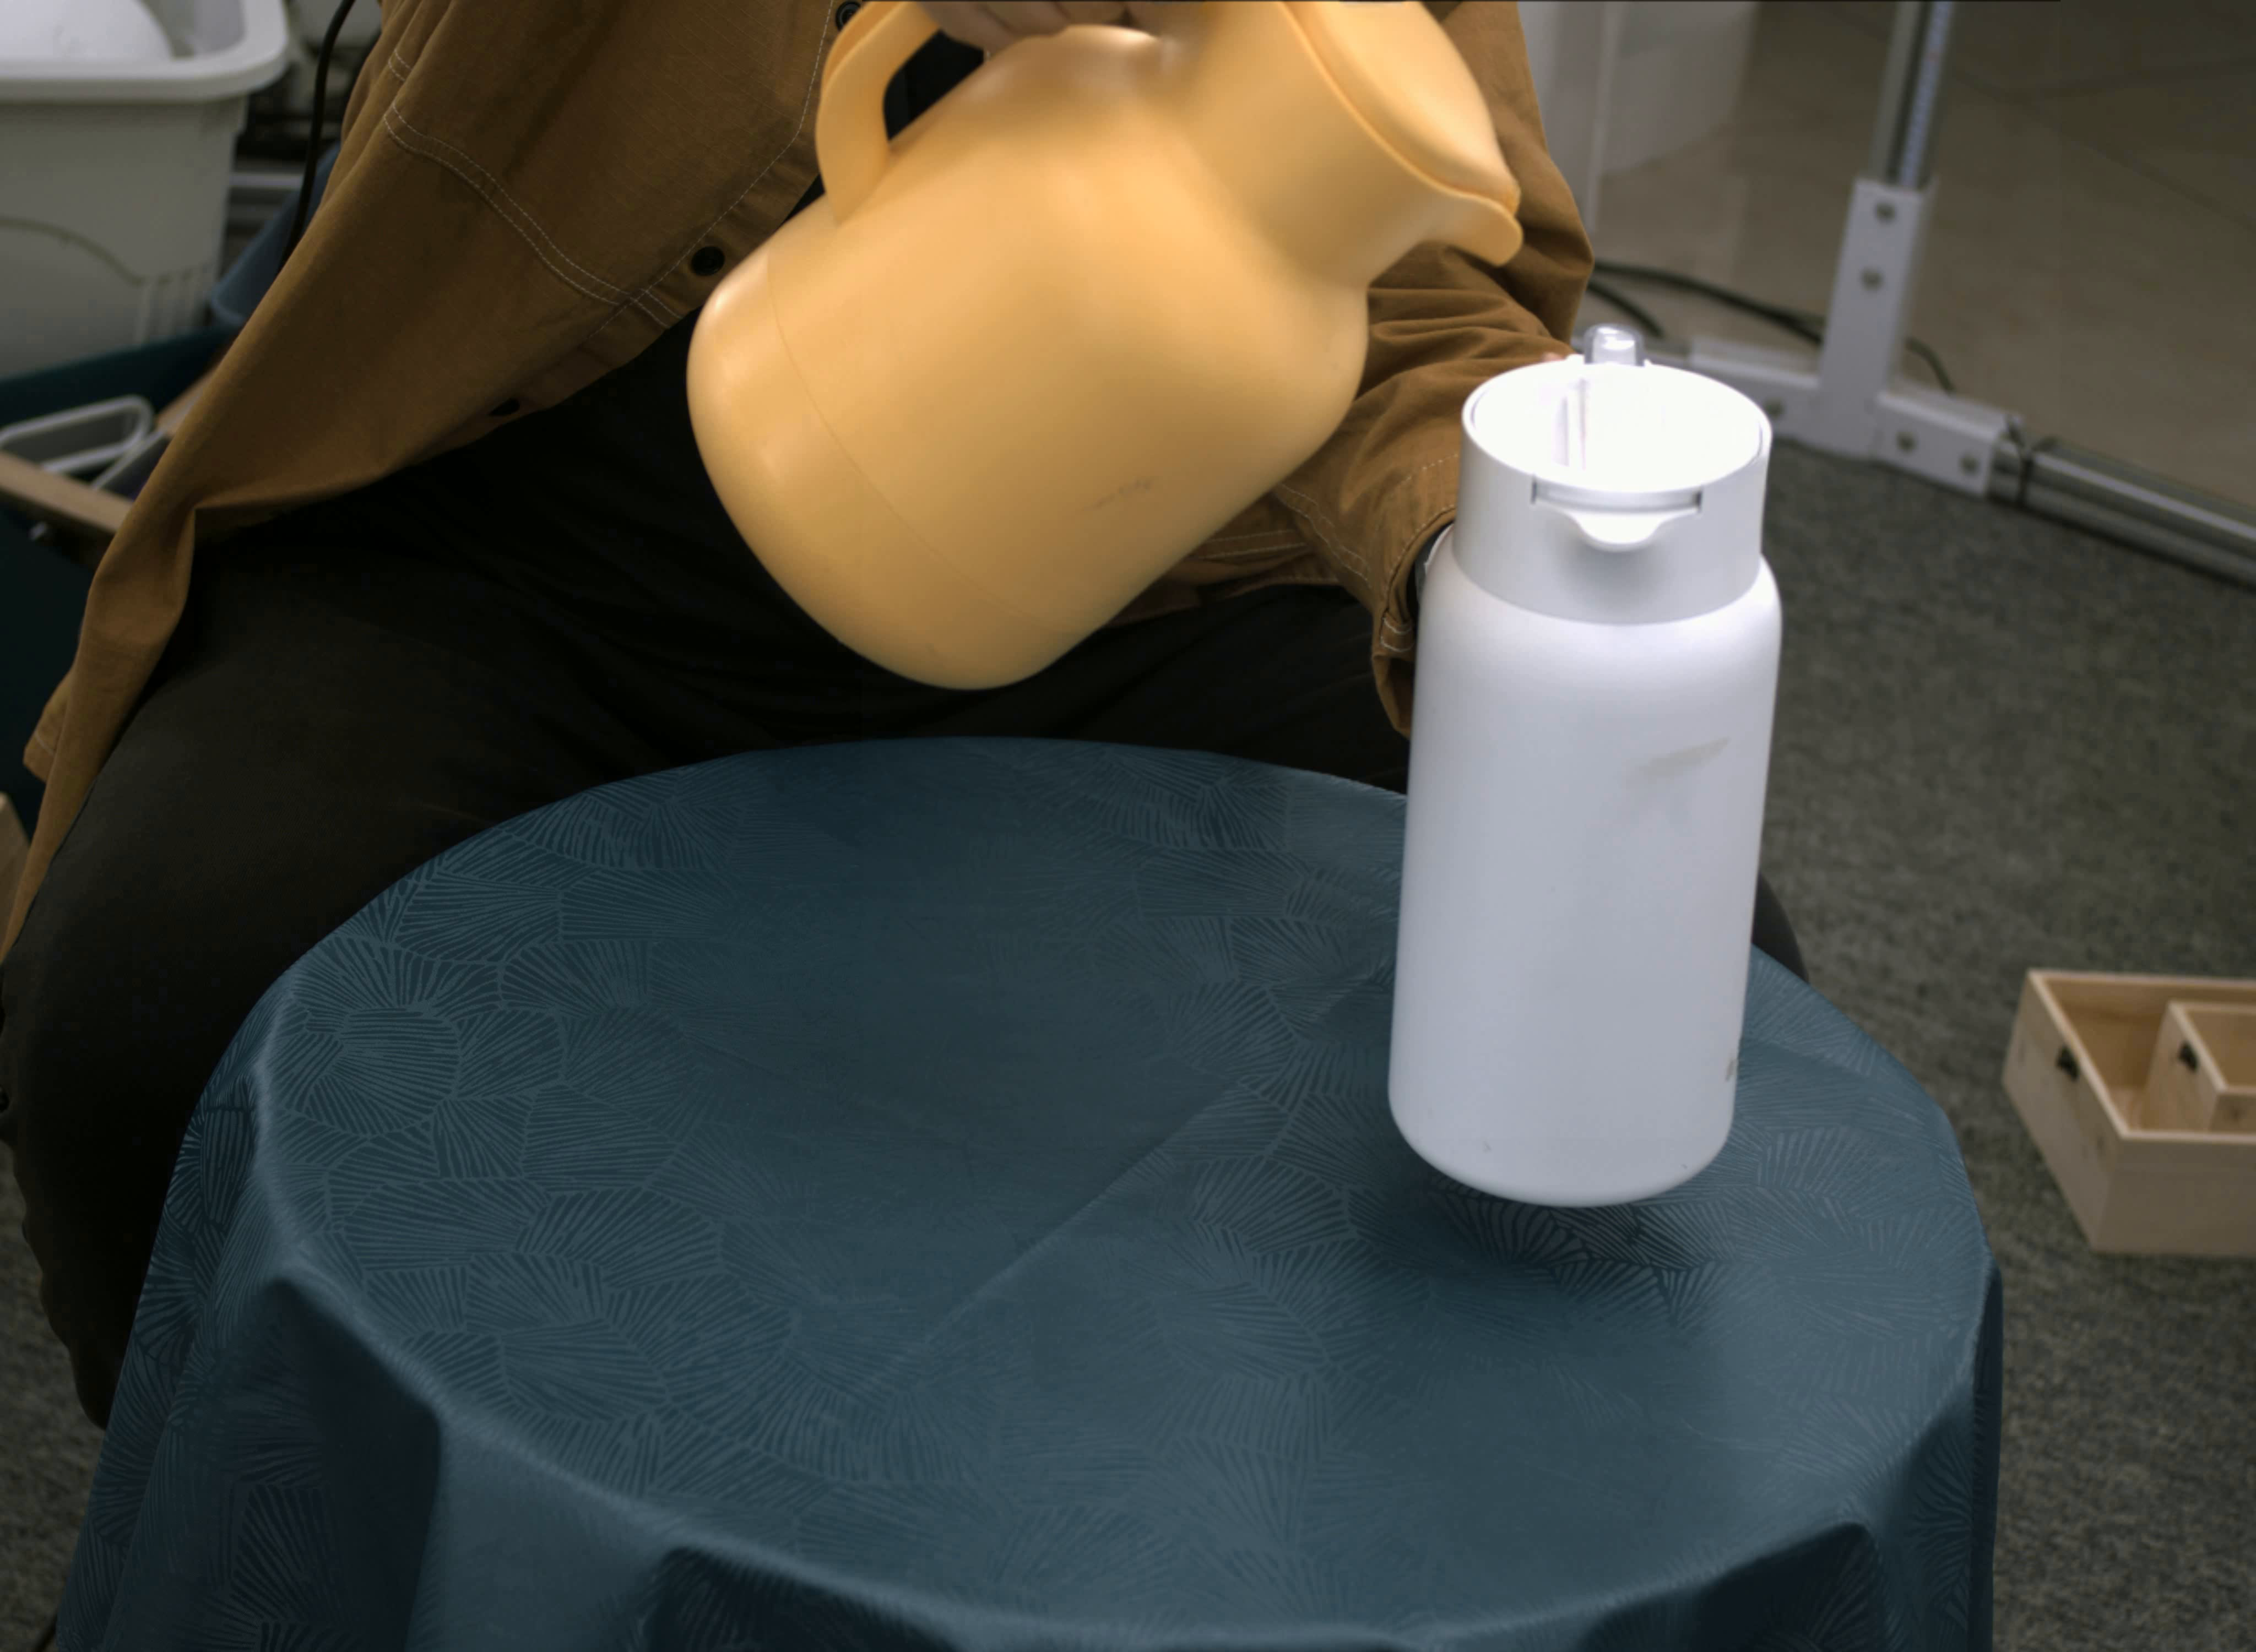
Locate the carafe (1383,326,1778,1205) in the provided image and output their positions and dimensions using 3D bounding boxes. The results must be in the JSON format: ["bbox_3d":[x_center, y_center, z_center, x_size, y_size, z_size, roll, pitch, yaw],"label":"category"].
[{"bbox_3d":[0.148,-0.023,1.759,0.123,0.268,0.174,1,28,3],"label":"carafe"}]

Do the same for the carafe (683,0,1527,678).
[{"bbox_3d":[-0.018,-0.185,1.666,0.201,0.260,0.164,45,22,-22],"label":"carafe"}]
